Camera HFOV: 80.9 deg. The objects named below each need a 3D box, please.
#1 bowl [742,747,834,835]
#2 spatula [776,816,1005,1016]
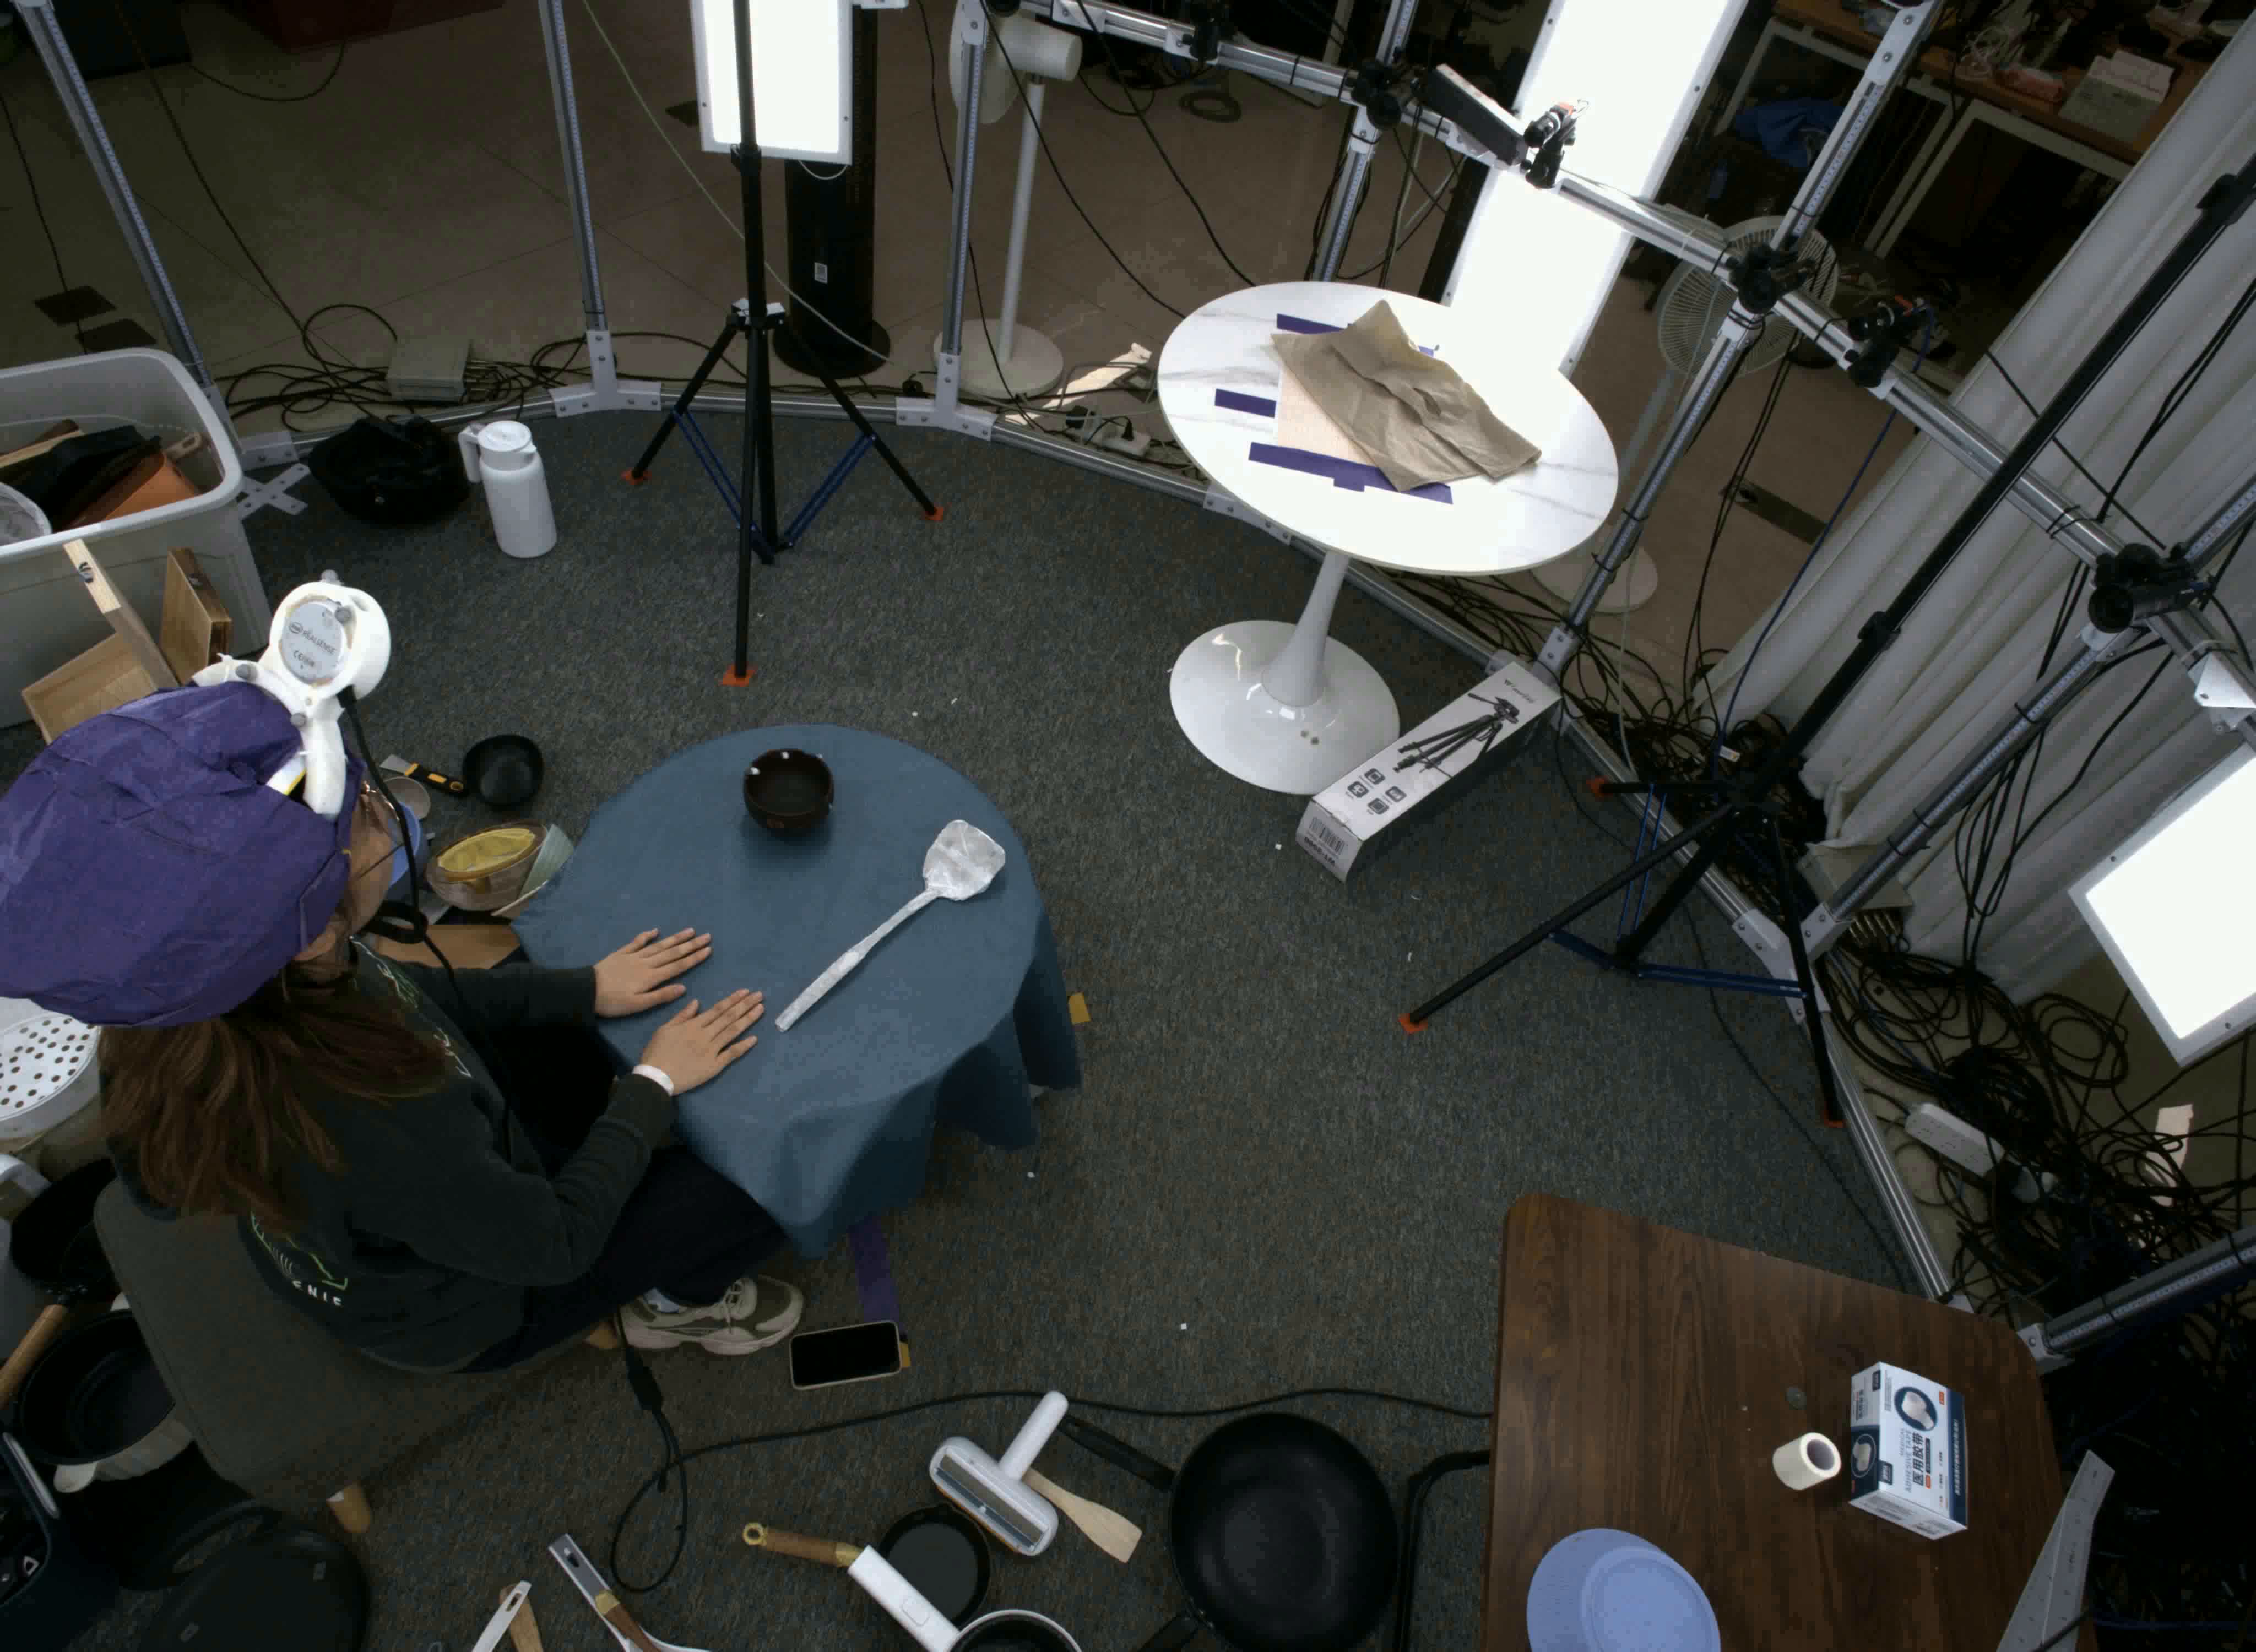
[{"bbox_3d":[-0.447,-0.039,1.707,0.117,0.071,0.116,6,54,-7],"label":"bowl"},{"bbox_3d":[-0.303,0.118,1.647,0.097,0.045,0.365,38,54,13],"label":"spatula"}]
